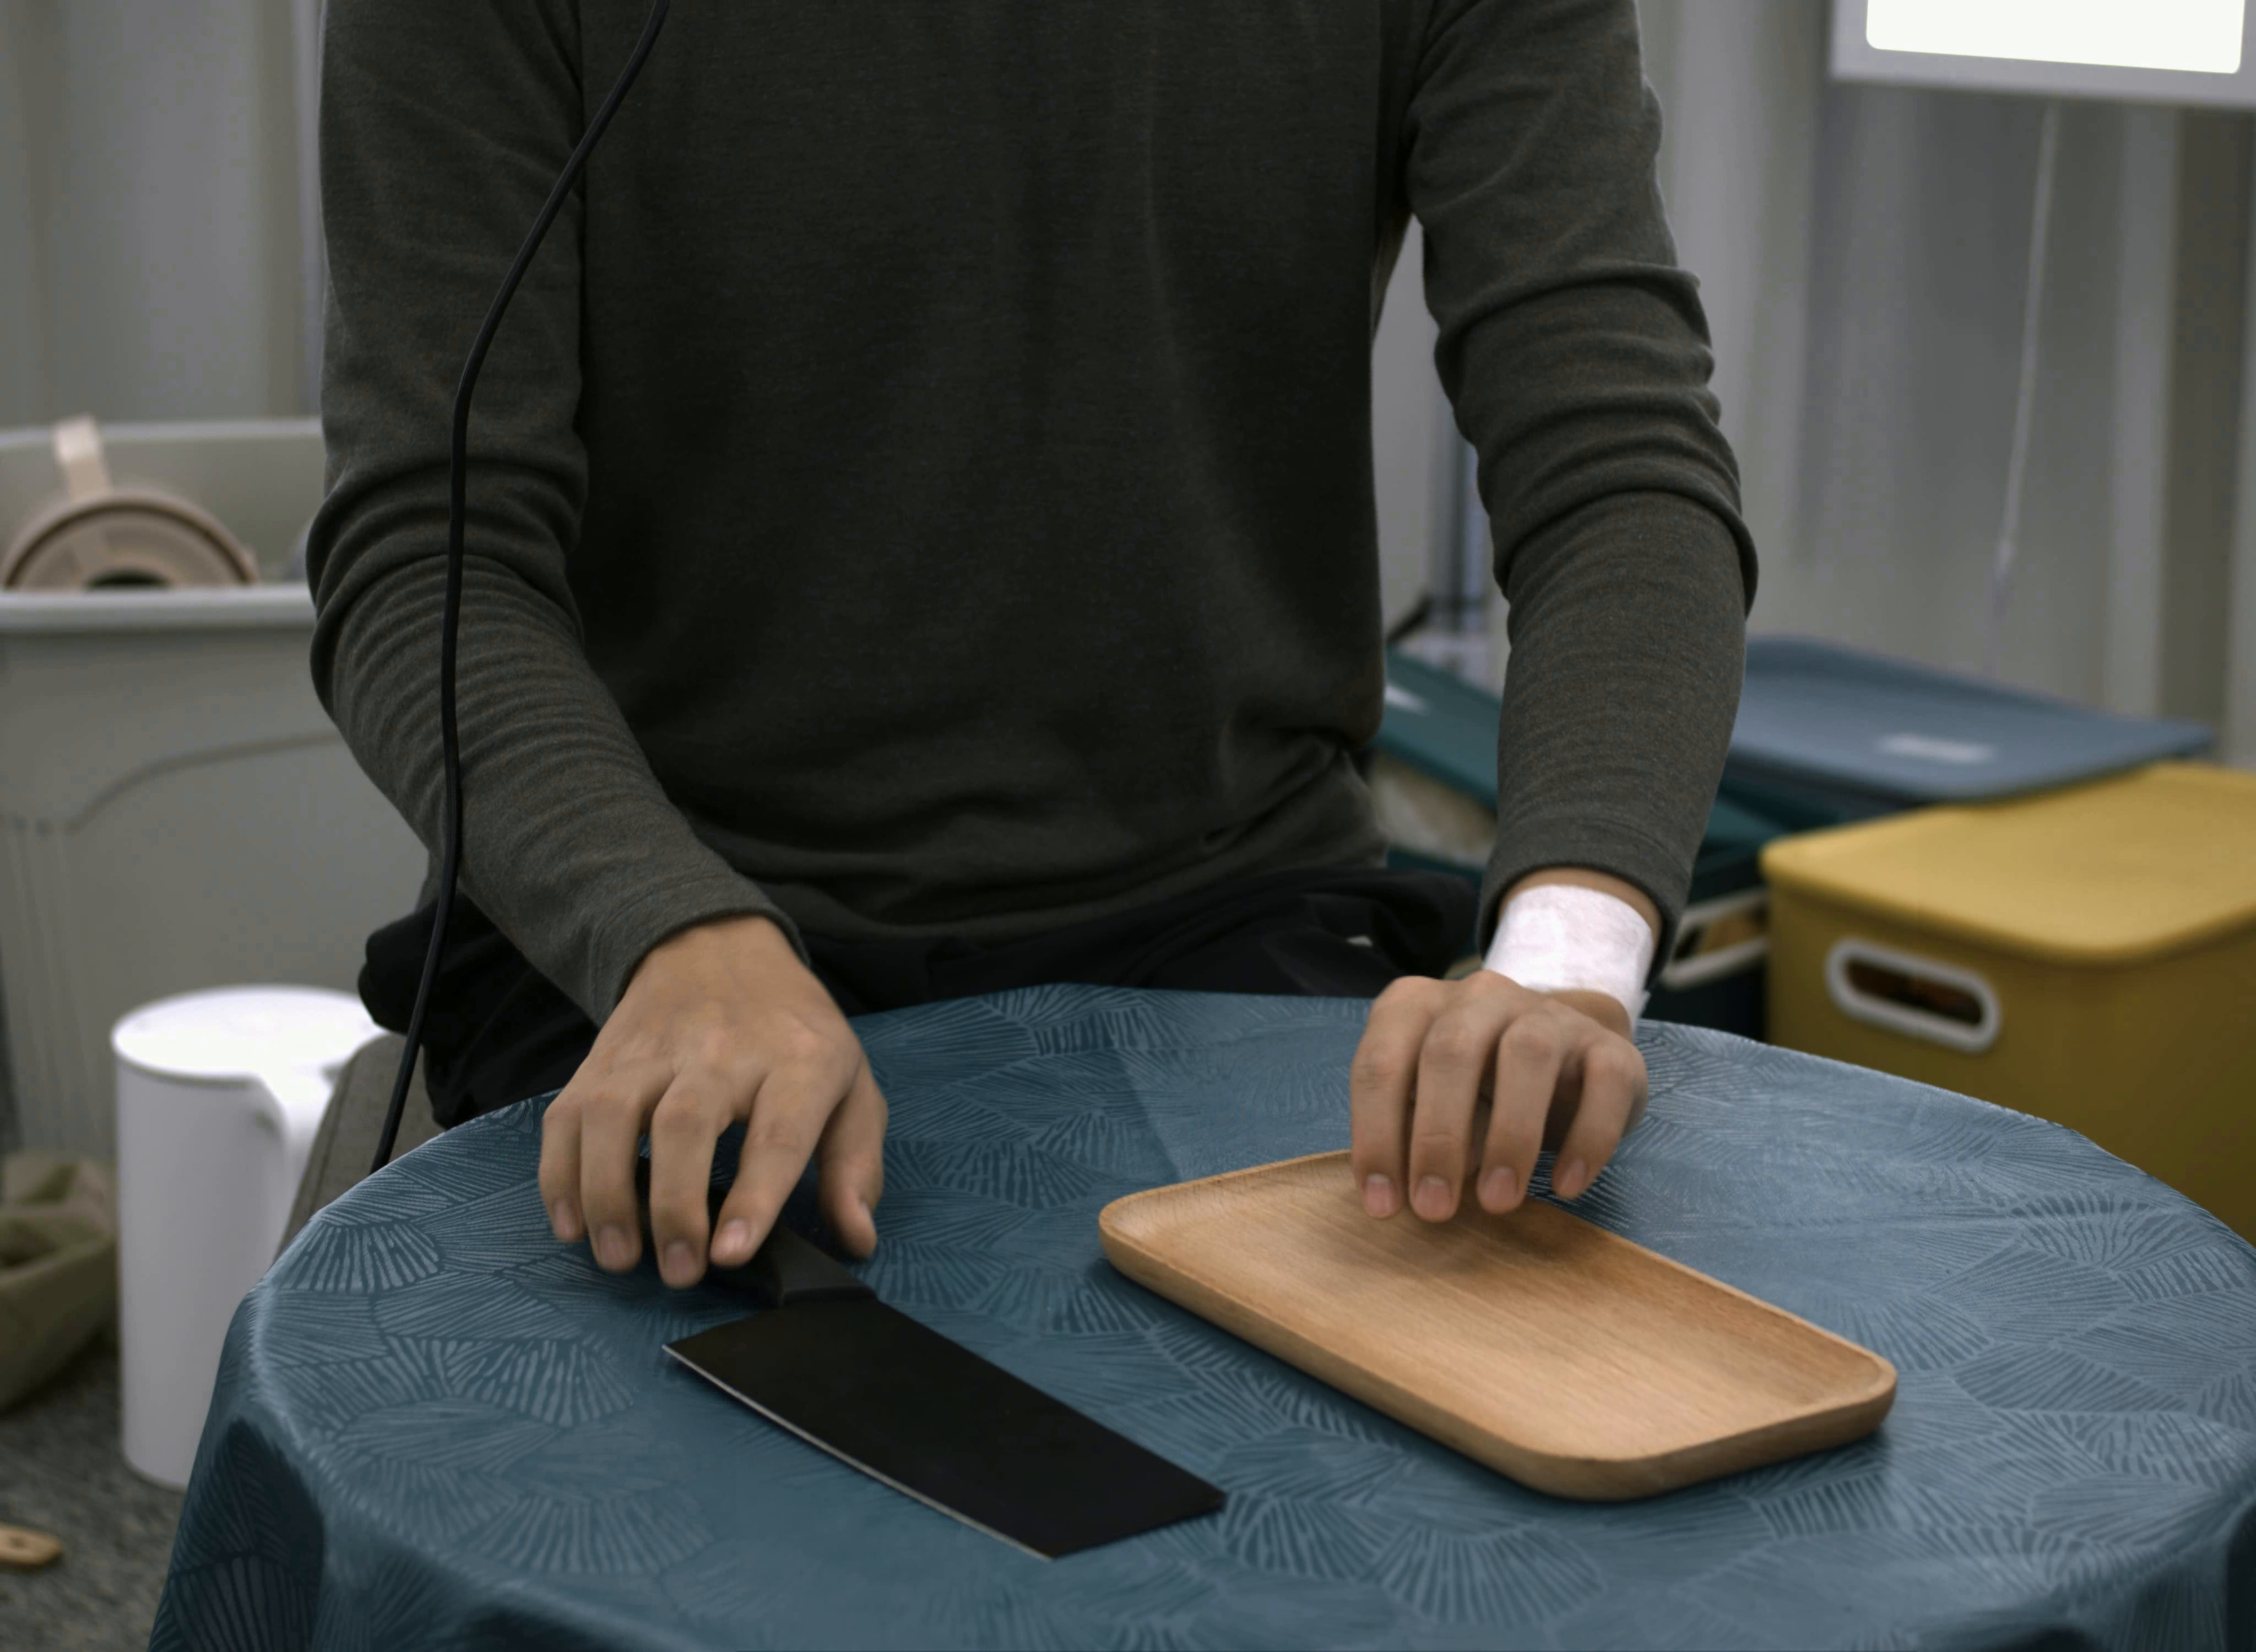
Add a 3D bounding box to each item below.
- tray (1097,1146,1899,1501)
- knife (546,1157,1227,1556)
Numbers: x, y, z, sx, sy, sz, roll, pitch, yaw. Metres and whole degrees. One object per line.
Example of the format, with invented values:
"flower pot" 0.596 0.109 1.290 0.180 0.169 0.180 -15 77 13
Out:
"tray" 0.101 0.139 1.504 0.131 0.023 0.247 -6 16 -32
"knife" -0.084 0.146 1.476 0.081 0.021 0.298 -12 21 -31
